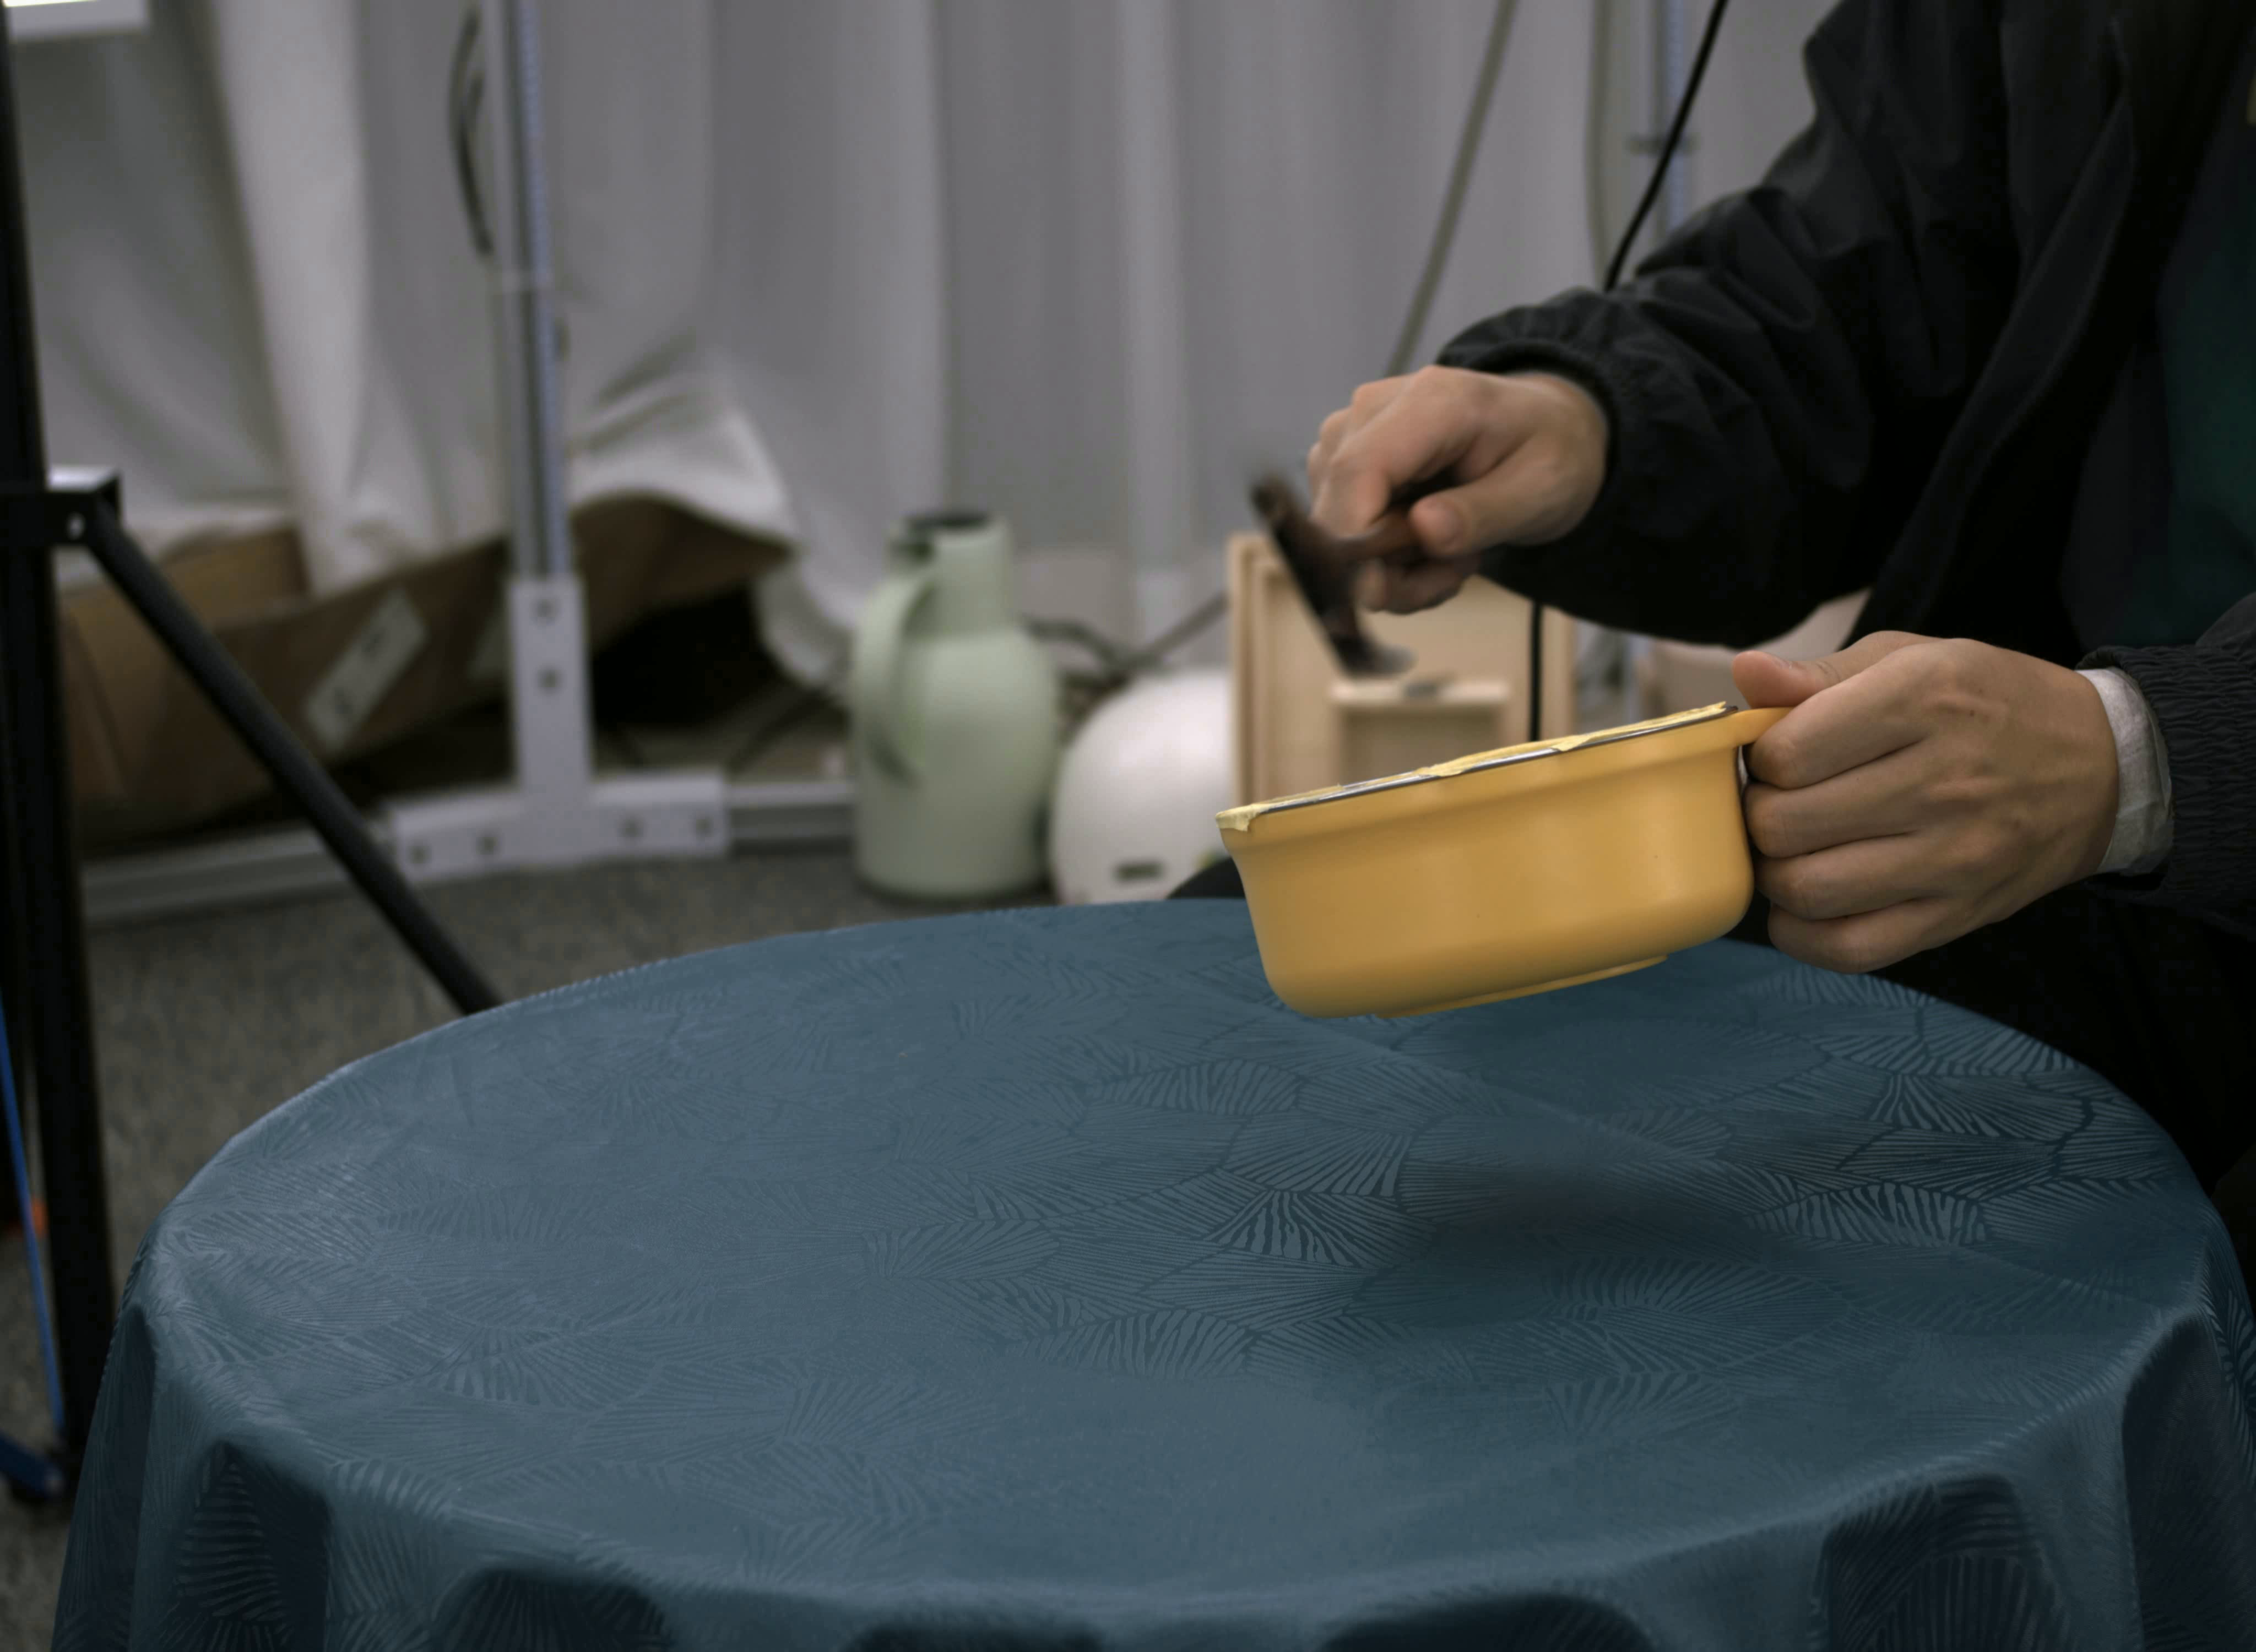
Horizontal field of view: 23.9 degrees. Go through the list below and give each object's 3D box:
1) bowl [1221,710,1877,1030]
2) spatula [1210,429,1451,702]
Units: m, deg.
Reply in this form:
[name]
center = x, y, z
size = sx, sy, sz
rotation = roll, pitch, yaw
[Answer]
[bowl]
center = 0.120, 0.013, 1.507
size = 0.177, 0.074, 0.154
rotation = -12, 2, -7
[spatula]
center = 0.070, -0.081, 1.663
size = 0.024, 0.086, 0.383
rotation = -28, -2, 11
